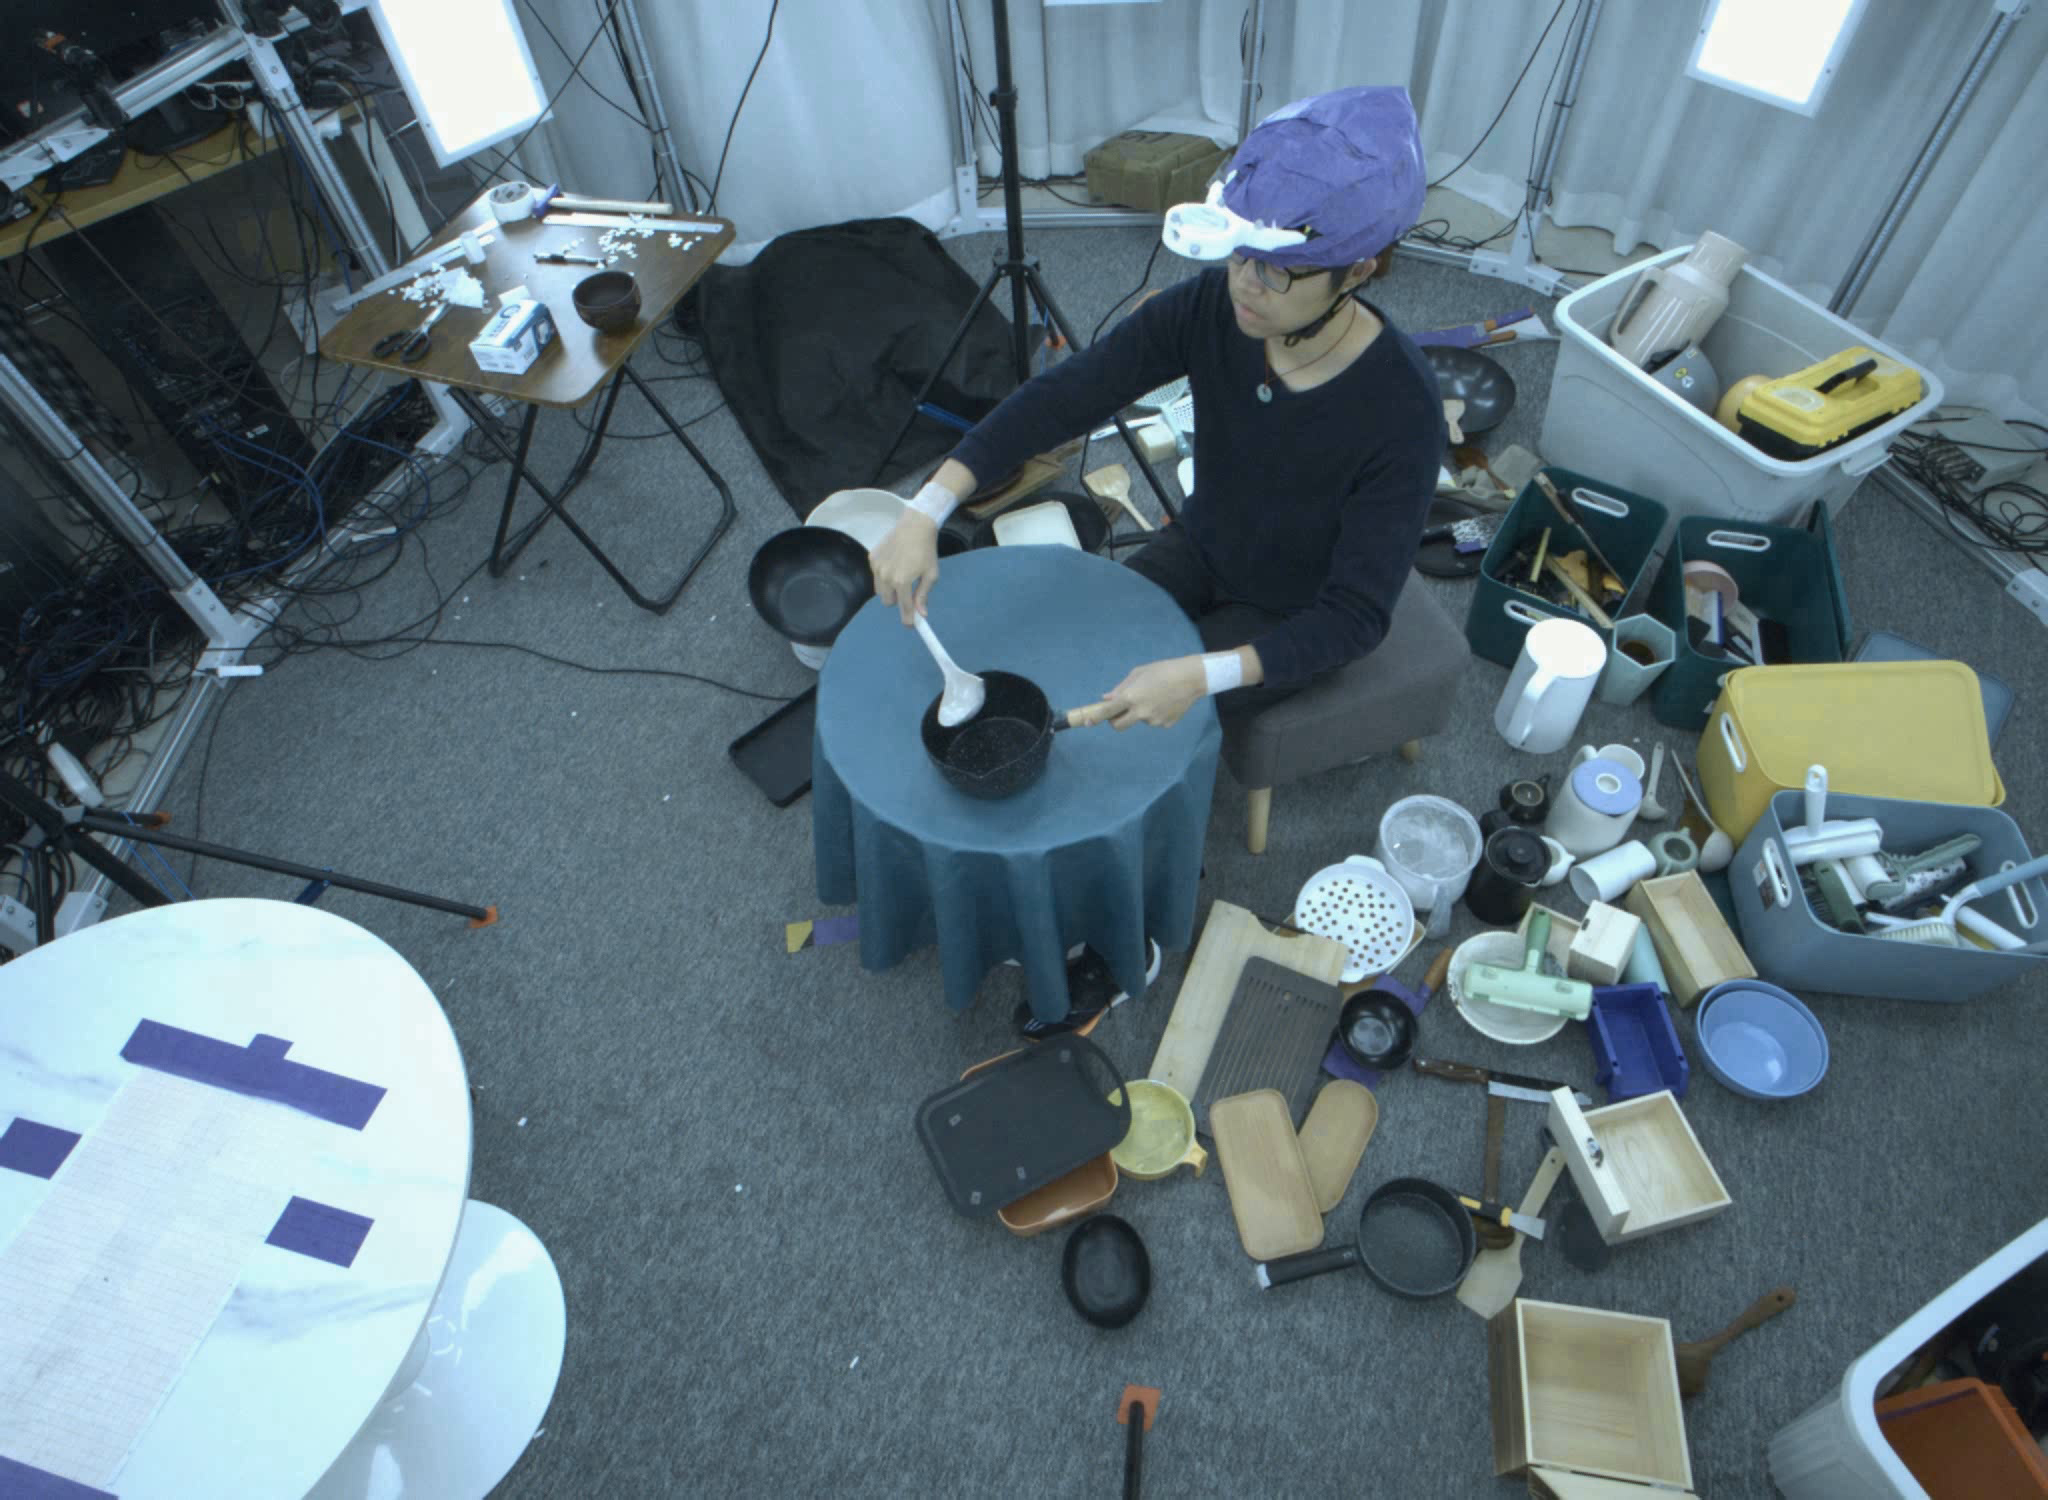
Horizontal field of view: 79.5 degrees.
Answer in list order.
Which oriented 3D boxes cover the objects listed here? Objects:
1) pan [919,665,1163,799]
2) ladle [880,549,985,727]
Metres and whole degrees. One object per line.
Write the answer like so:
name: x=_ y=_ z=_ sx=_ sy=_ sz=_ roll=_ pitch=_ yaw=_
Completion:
pan: x=0.028 y=-0.031 z=1.720 sx=0.341 sy=0.110 sz=0.205 roll=-7 pitch=50 yaw=8
ladle: x=-0.147 y=-0.160 z=1.723 sx=0.275 sy=0.088 sz=0.070 roll=58 pitch=38 yaw=-2
